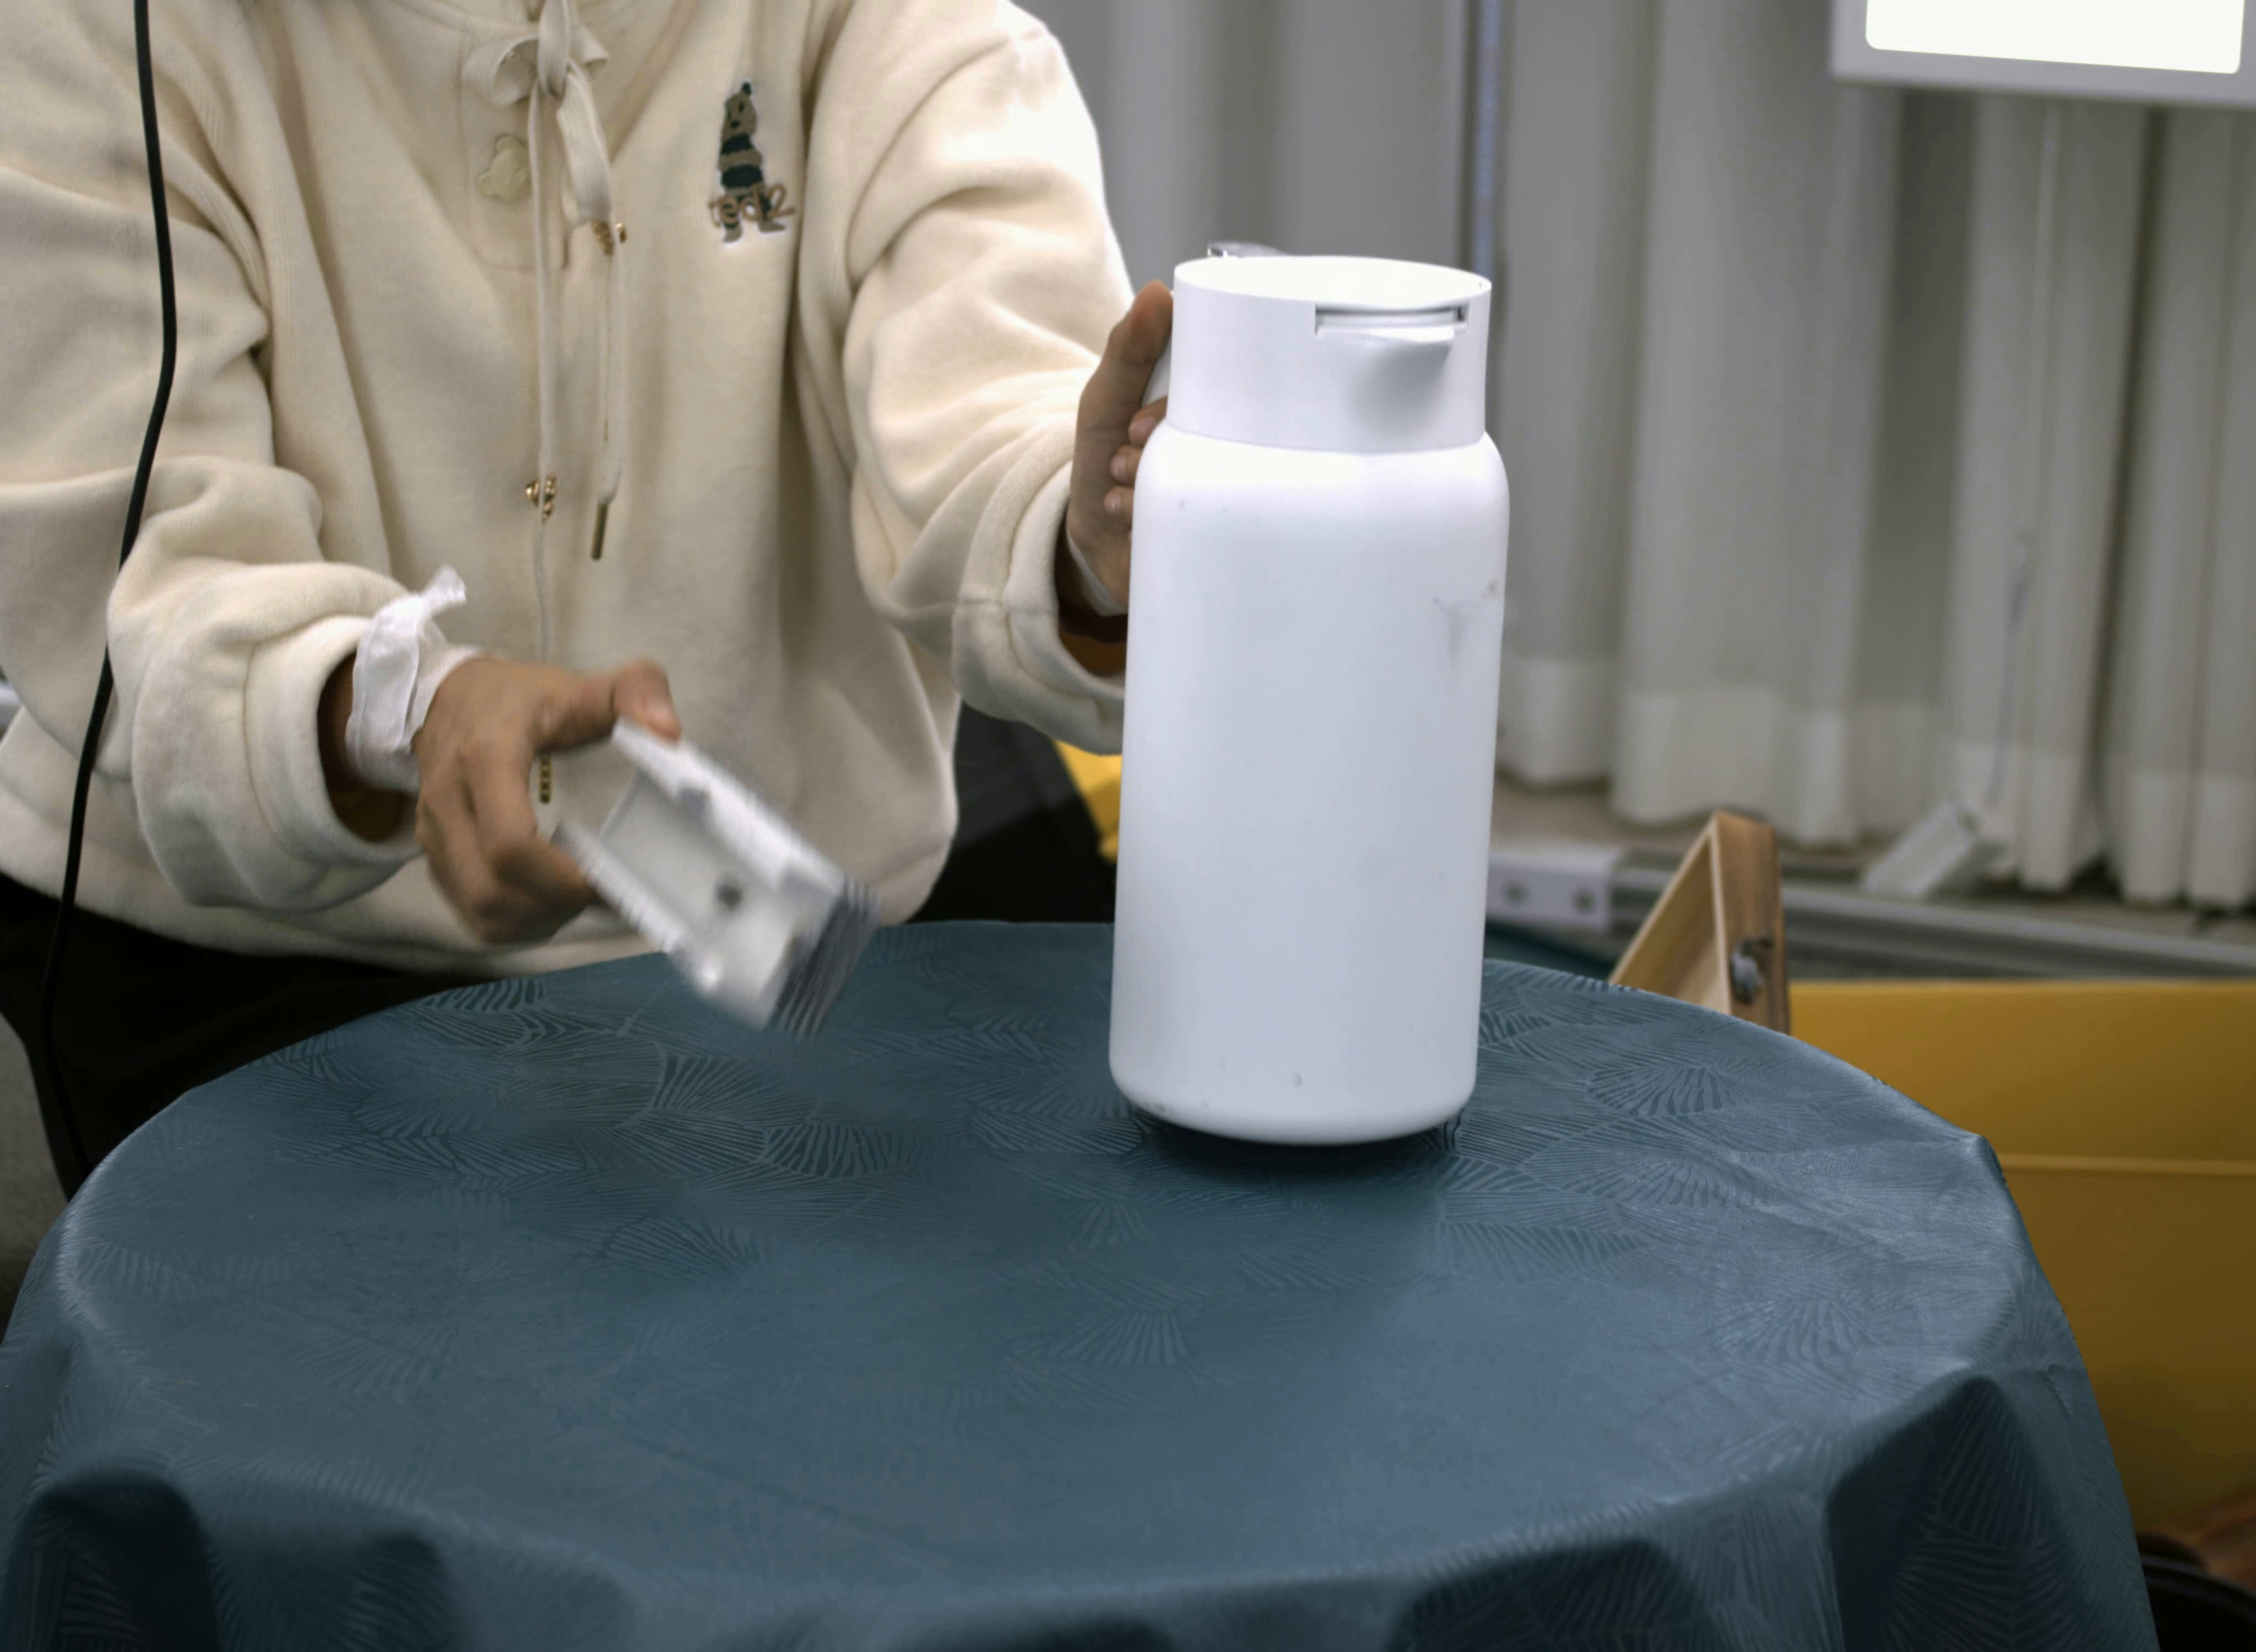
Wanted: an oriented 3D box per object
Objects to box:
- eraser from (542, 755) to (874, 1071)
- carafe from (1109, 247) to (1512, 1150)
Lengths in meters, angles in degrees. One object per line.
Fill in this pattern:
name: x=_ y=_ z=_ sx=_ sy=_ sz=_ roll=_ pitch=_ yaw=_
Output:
eraser: x=-0.131 y=0.026 z=1.632 sx=0.047 sy=0.050 sz=0.132 roll=27 pitch=4 yaw=-35
carafe: x=0.050 y=-0.044 z=1.660 sx=0.124 sy=0.271 sz=0.171 roll=-7 pitch=17 yaw=-24
